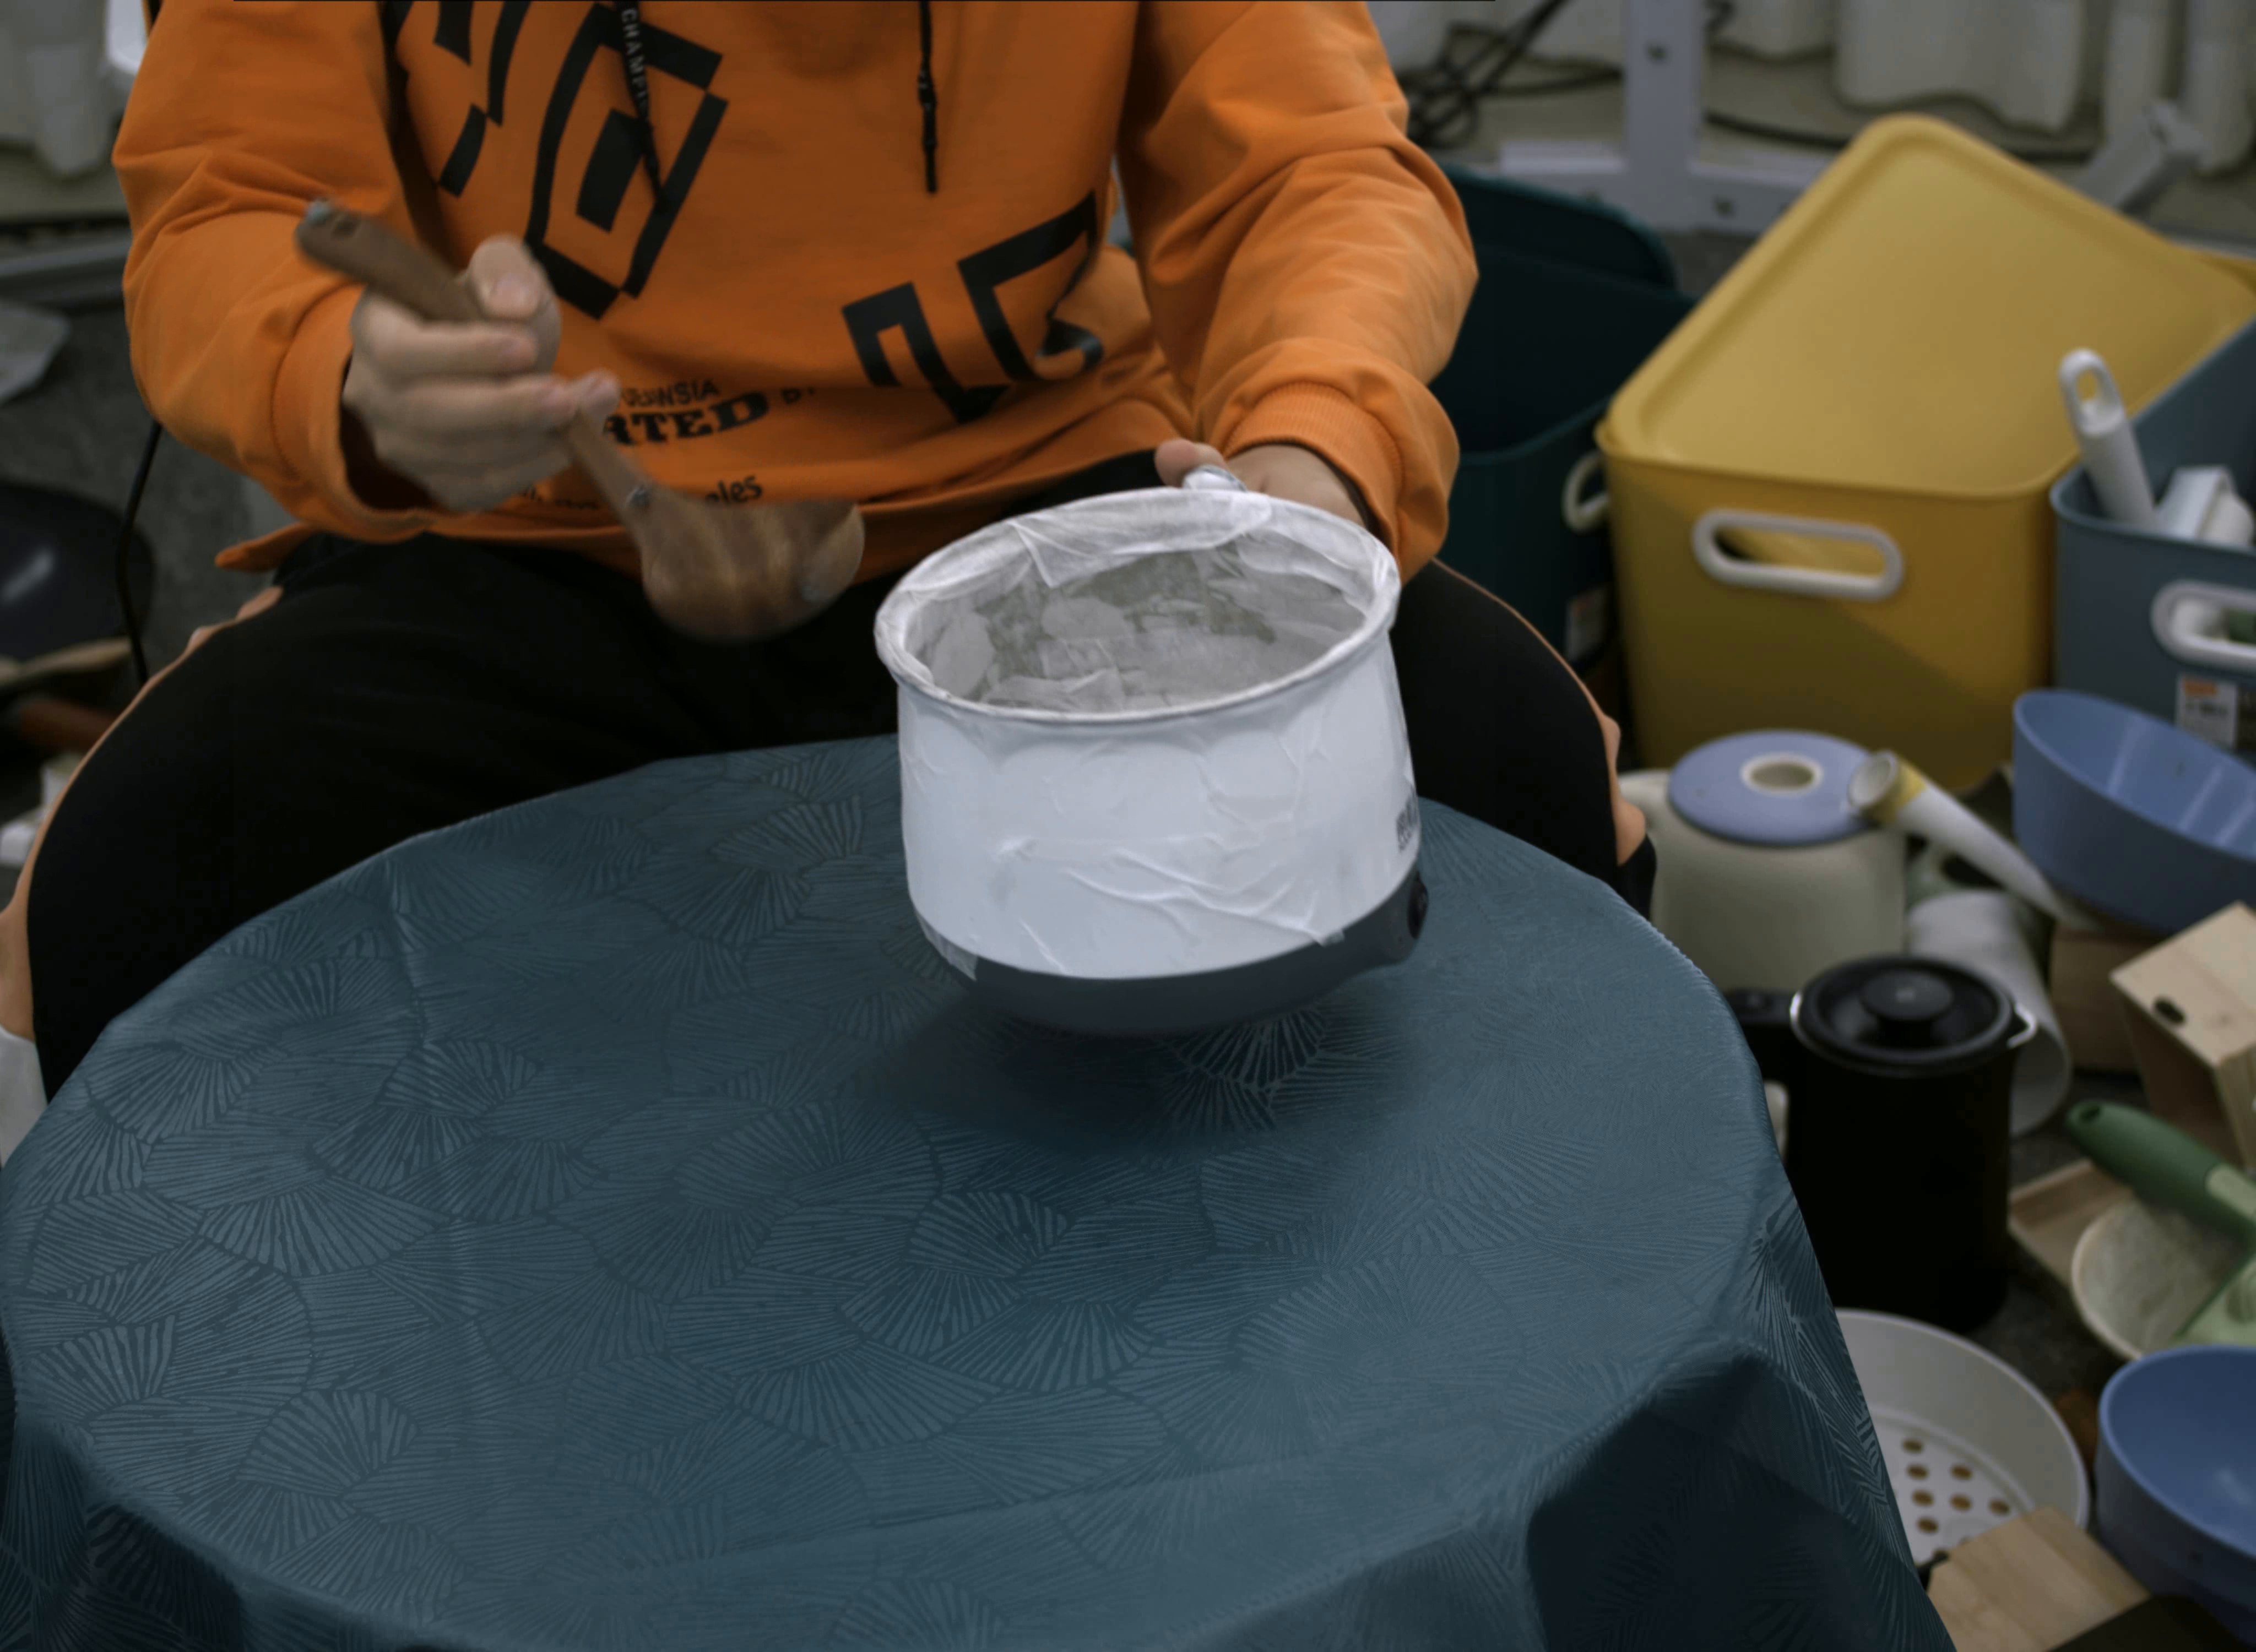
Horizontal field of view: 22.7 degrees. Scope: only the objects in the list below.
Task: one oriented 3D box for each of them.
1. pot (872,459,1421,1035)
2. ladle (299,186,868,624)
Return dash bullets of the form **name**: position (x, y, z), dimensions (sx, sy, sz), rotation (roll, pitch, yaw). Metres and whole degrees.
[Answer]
- **pot**: position (0.014, -0.034, 1.933), dimensions (0.177, 0.135, 0.238), rotation (1, 27, 14)
- **ladle**: position (-0.188, -0.153, 1.893), dimensions (0.077, 0.064, 0.261), rotation (-26, 60, -40)
